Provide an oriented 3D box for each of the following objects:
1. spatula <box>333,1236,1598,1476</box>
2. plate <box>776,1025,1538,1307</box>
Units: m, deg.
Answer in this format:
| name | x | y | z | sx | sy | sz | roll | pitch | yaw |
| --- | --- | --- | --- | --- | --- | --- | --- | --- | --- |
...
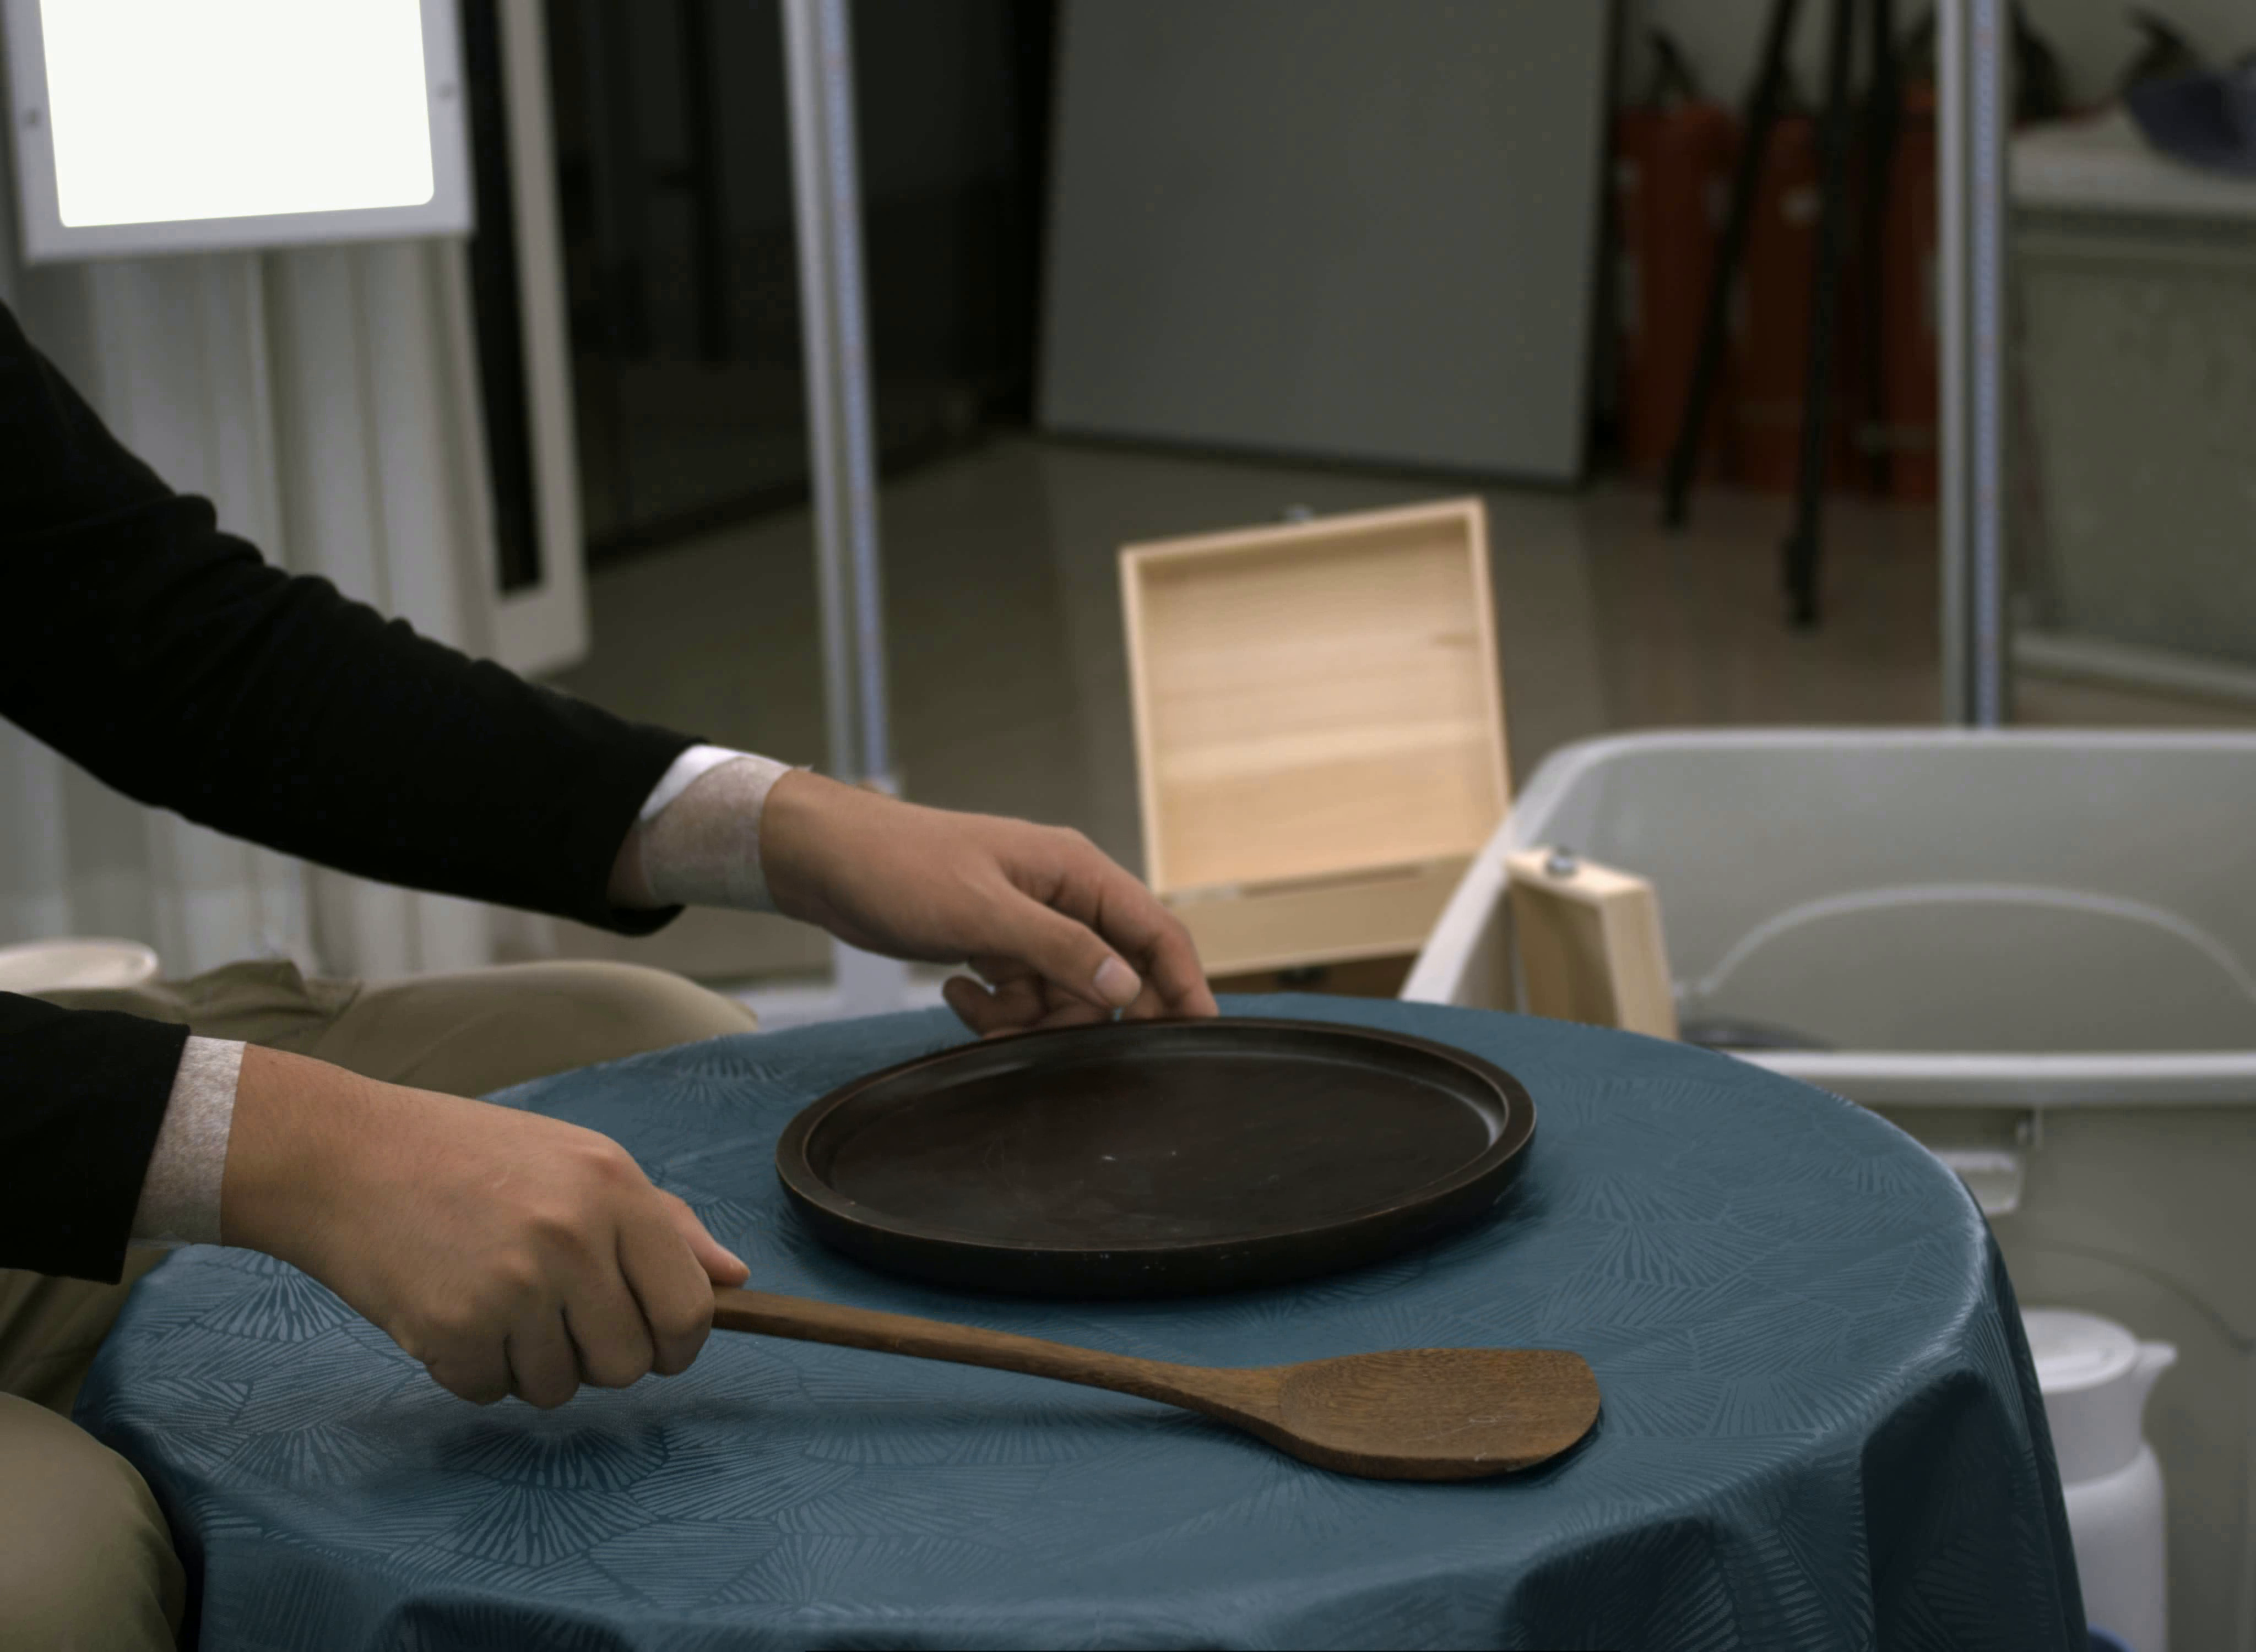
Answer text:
| name | x | y | z | sx | sy | sz | roll | pitch | yaw |
| --- | --- | --- | --- | --- | --- | --- | --- | --- | --- |
| spatula | -0.052 | 0.150 | 1.572 | 0.384 | 0.016 | 0.095 | 7 | 15 | 14 |
| plate | 0.010 | 0.108 | 1.768 | 0.251 | 0.029 | 0.255 | -5 | 15 | 0 |
